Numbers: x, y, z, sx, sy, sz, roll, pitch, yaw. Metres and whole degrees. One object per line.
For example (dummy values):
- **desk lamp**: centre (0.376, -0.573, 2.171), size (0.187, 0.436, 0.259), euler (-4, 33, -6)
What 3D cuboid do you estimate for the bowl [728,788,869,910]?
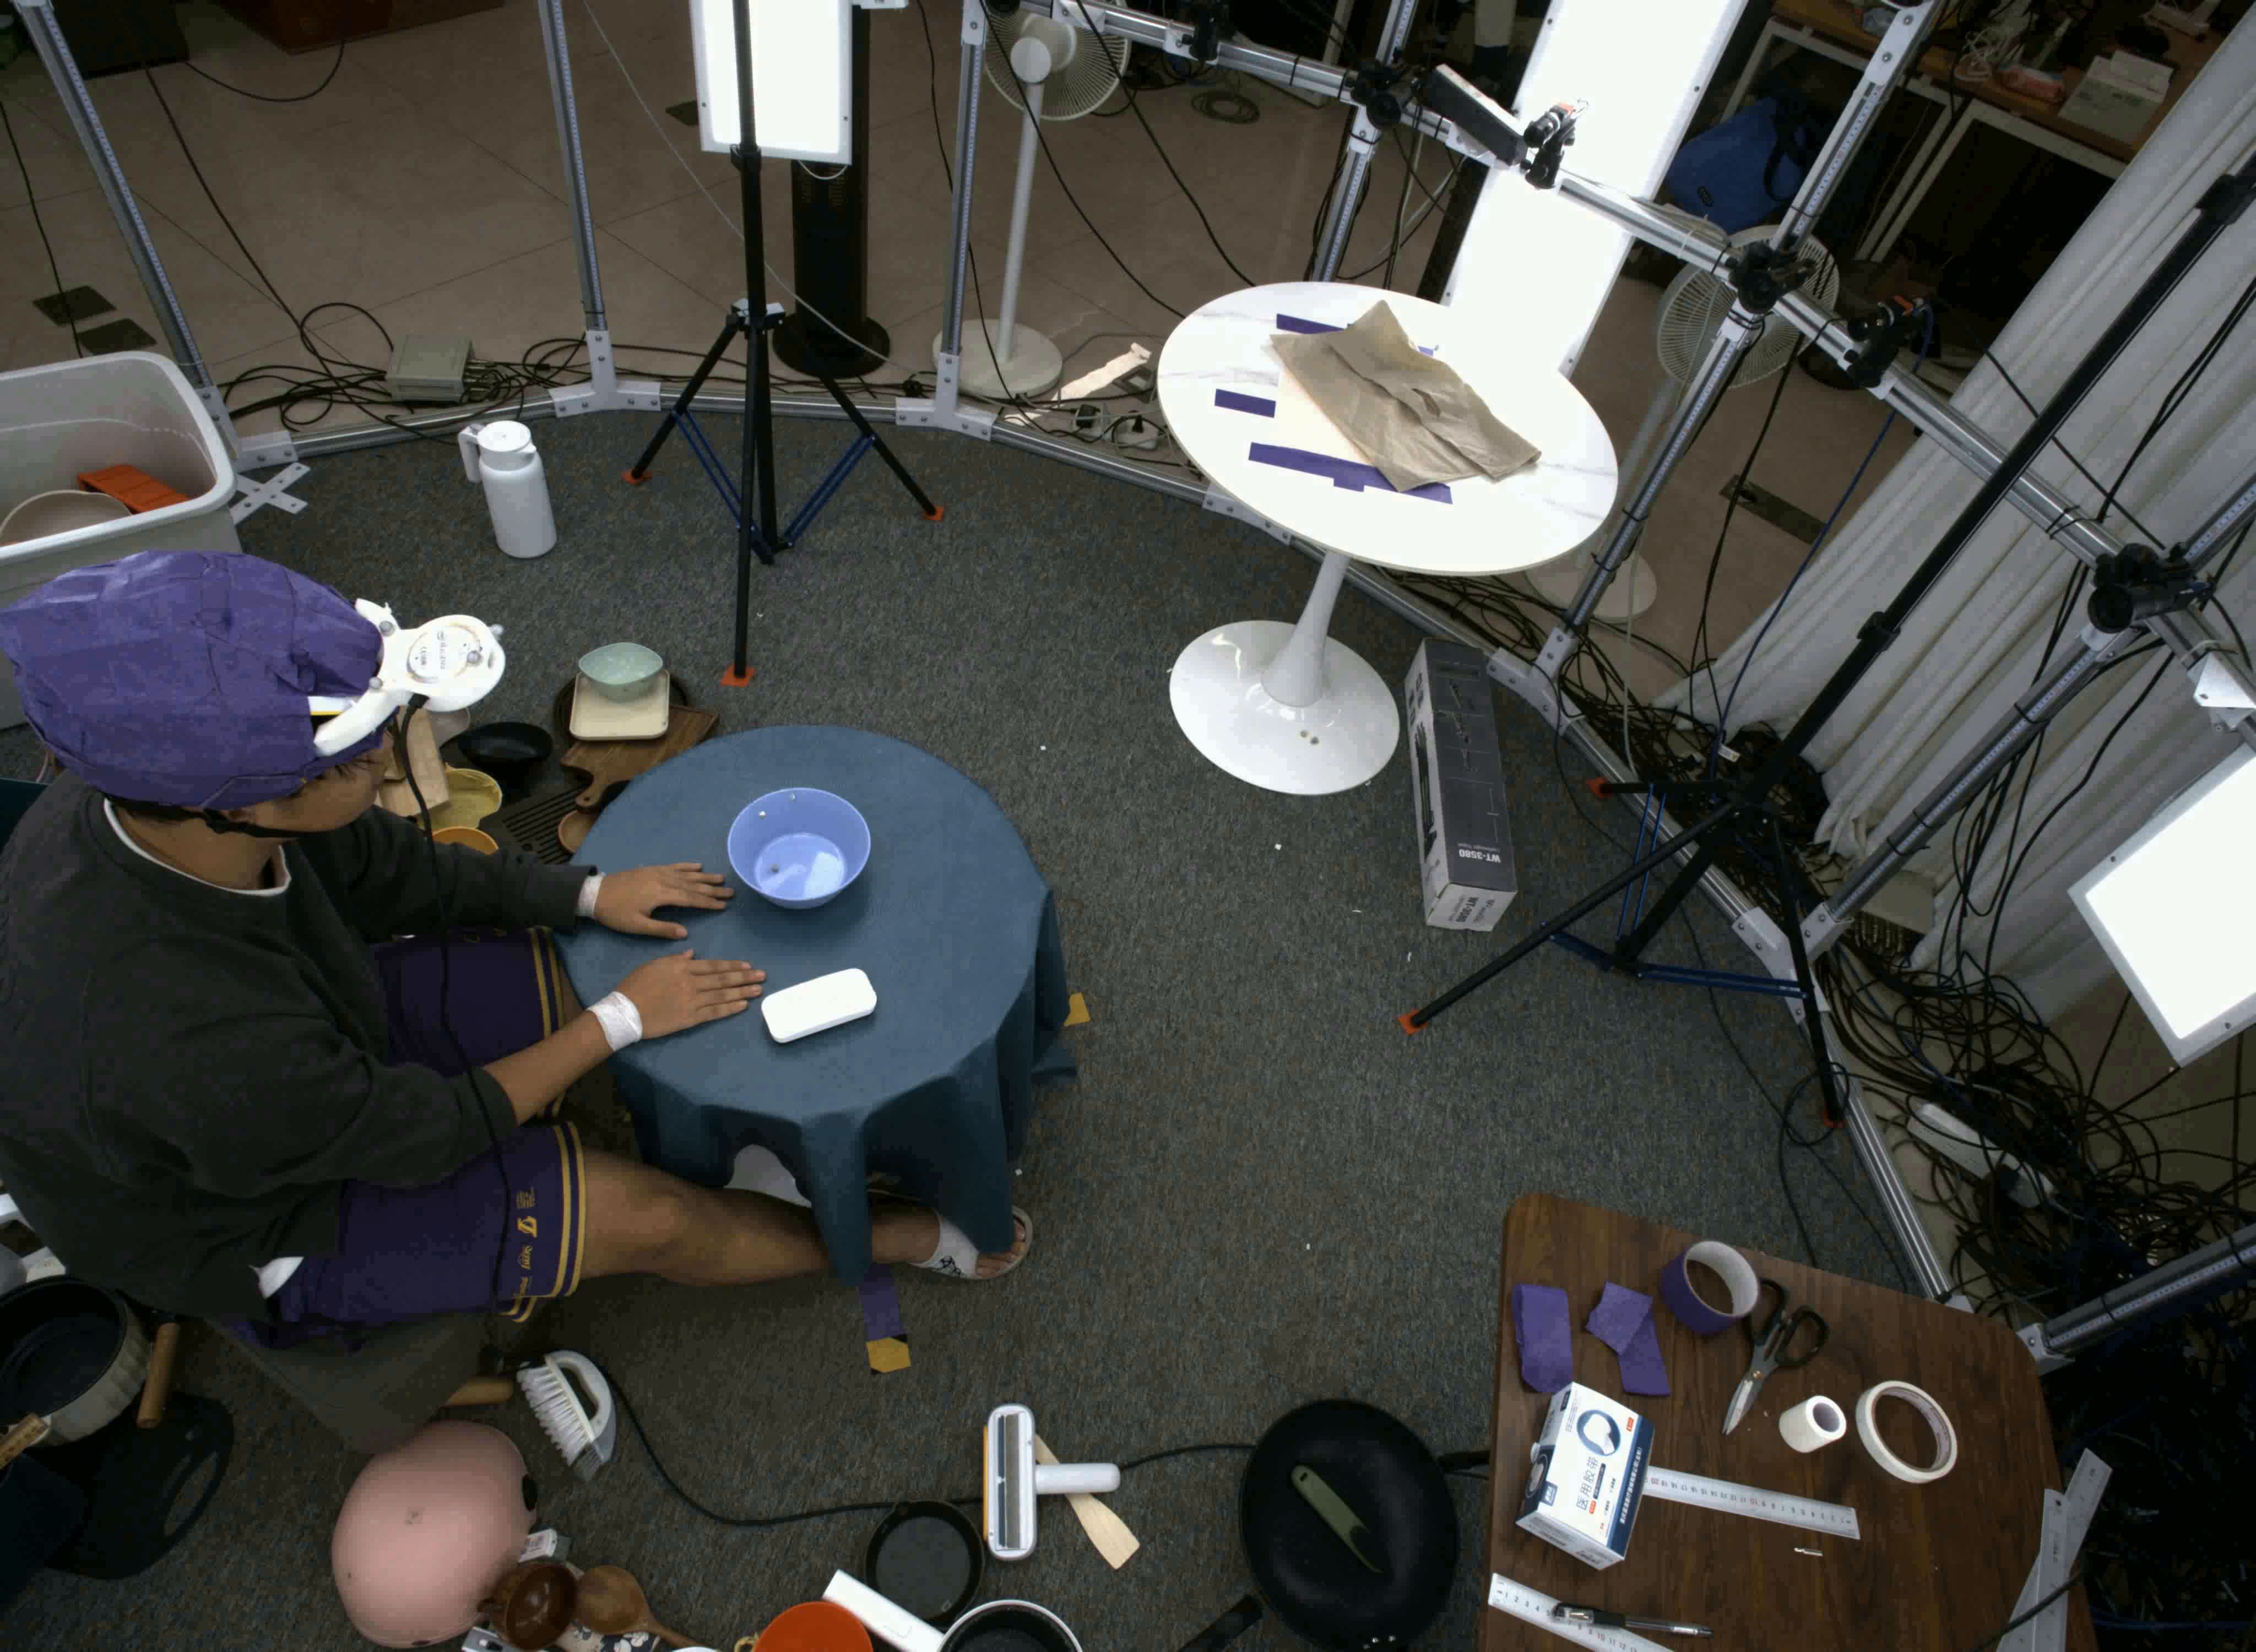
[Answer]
- **bowl**: centre (-0.419, 0.039, 1.655), size (0.175, 0.072, 0.173), euler (8, 51, -8)

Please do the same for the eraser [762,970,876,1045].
- **eraser**: centre (-0.372, 0.213, 1.562), size (0.132, 0.035, 0.062), euler (-15, 57, -26)
